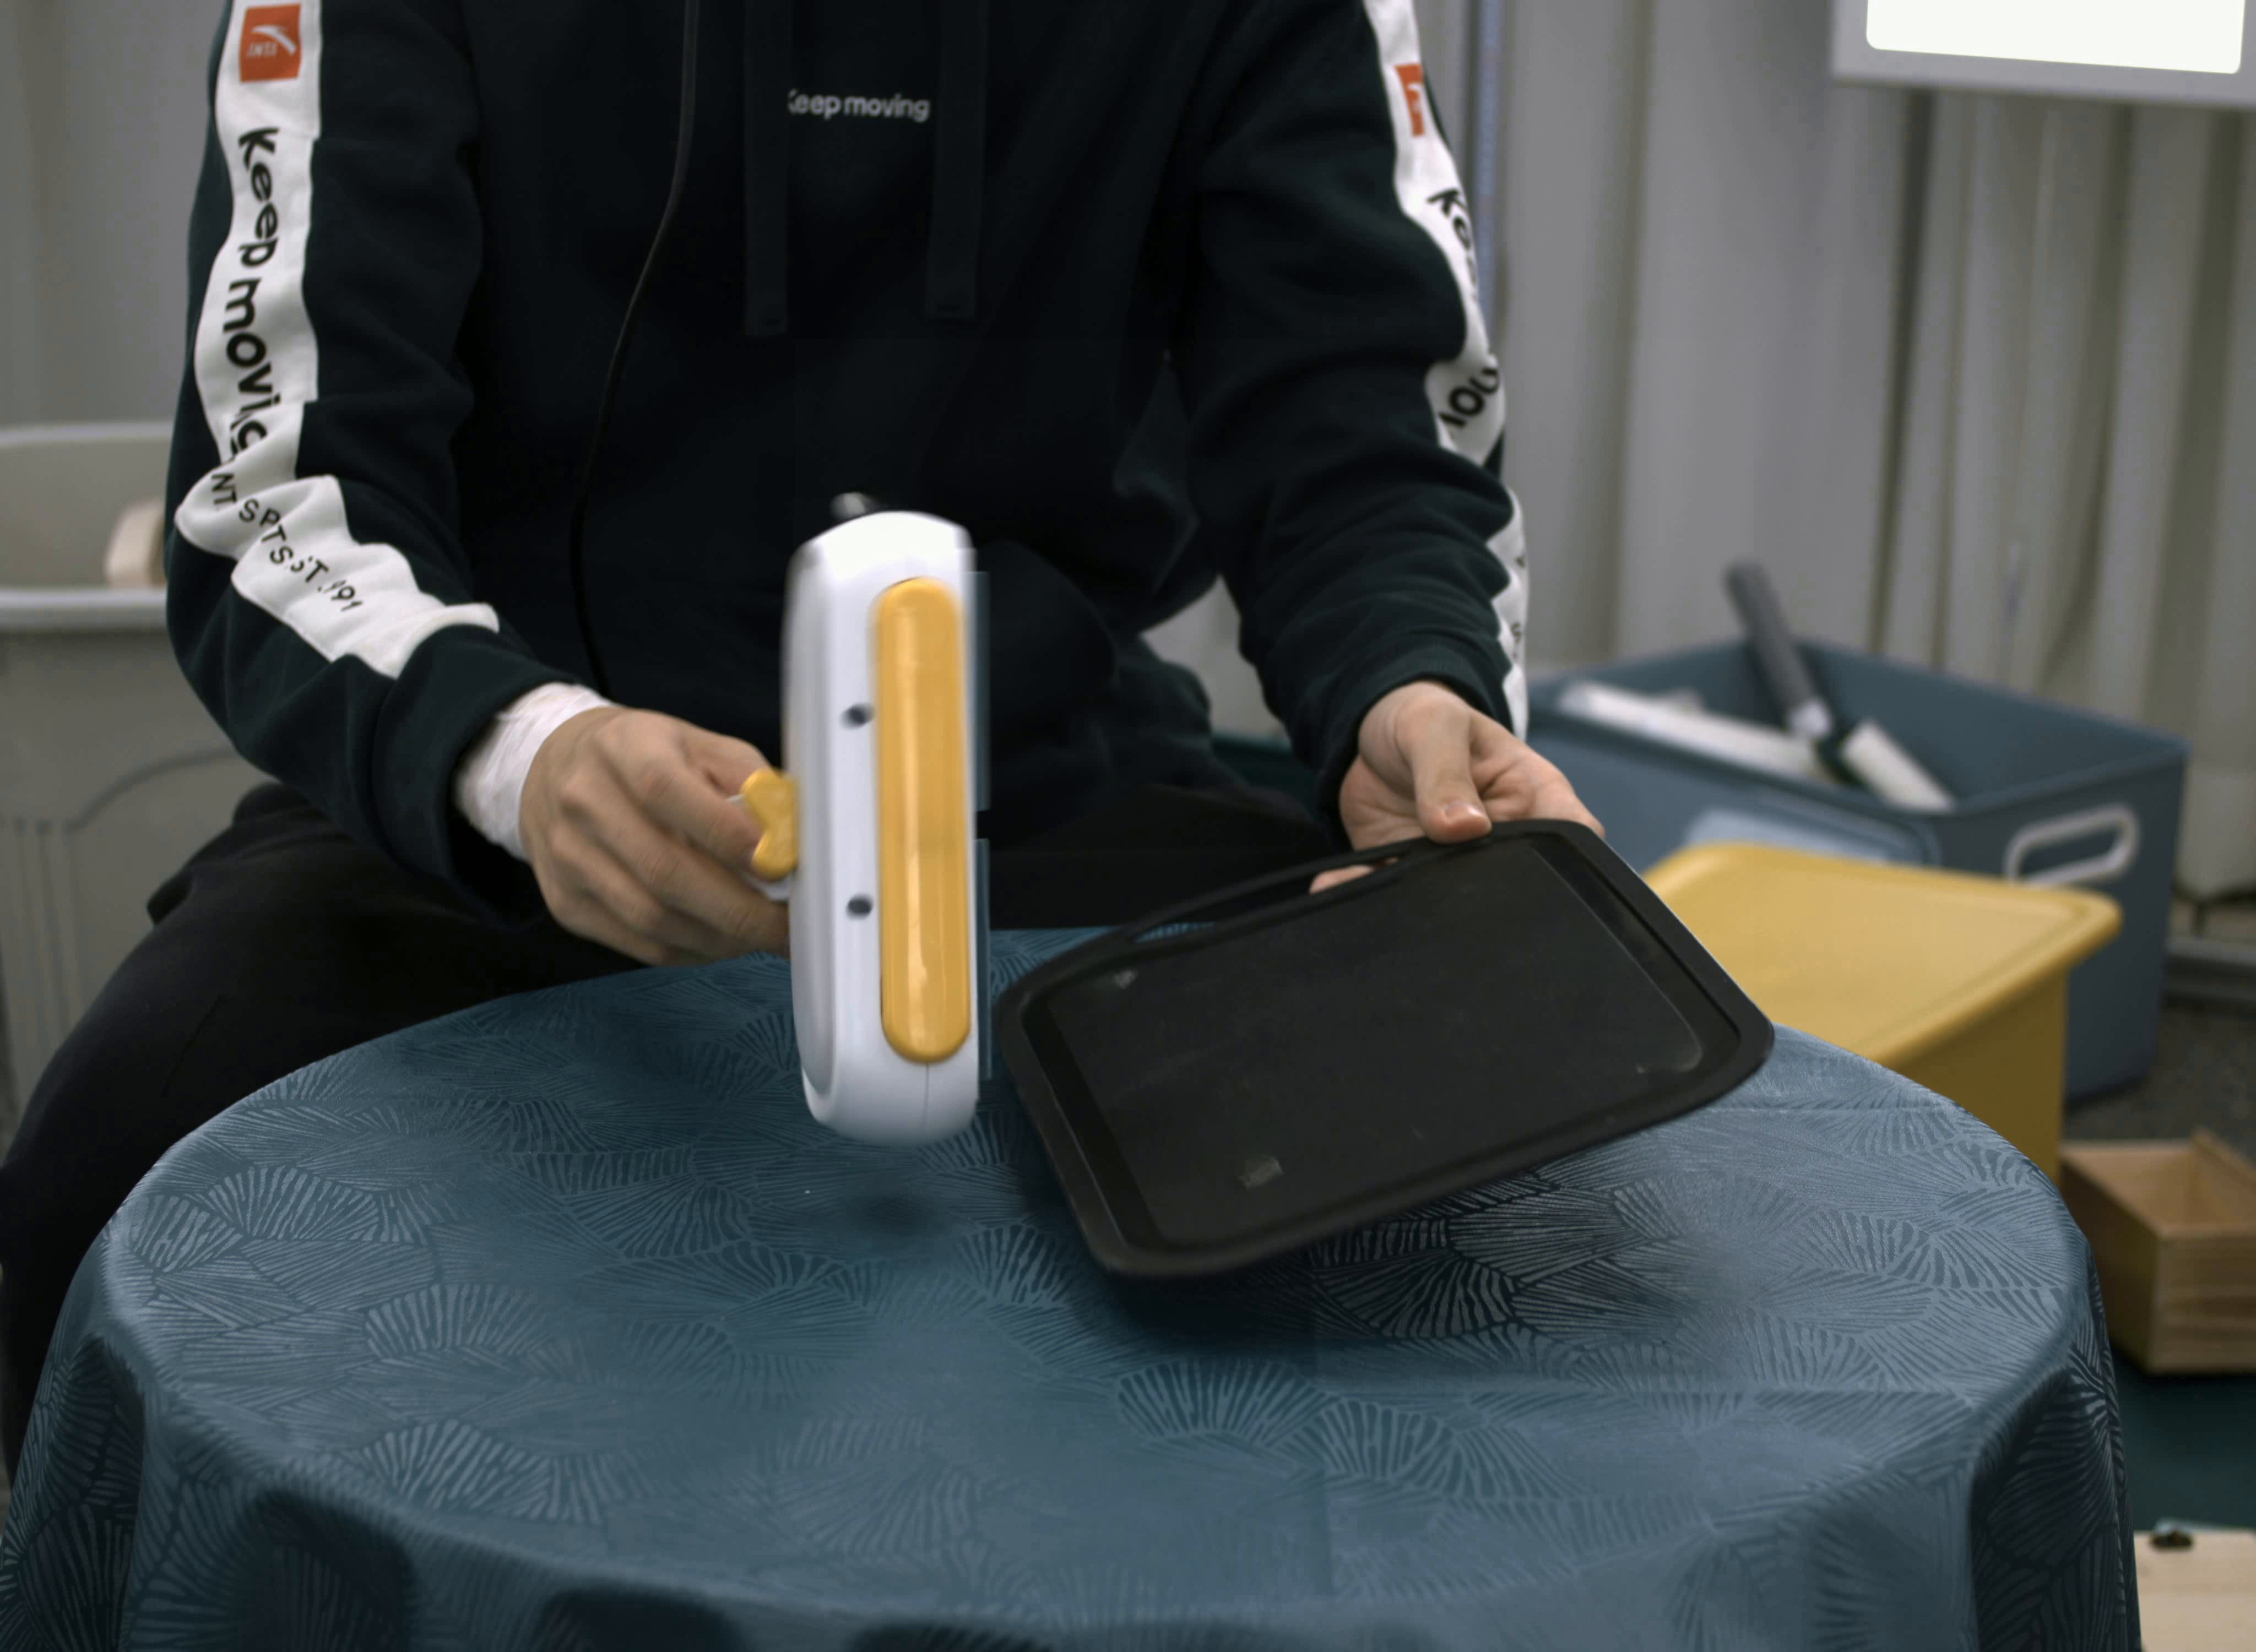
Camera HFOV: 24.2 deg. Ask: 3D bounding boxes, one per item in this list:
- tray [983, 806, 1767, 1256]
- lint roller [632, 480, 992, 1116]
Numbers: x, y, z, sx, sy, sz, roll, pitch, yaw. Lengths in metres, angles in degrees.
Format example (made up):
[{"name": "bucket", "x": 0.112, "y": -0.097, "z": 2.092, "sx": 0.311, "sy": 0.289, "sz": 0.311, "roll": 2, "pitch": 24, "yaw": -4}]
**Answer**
[{"name": "tray", "x": 0.066, "y": 0.055, "z": 1.633, "sx": 0.211, "sy": 0.010, "sz": 0.323, "roll": -18, "pitch": 17, "yaw": -4}, {"name": "lint roller", "x": -0.100, "y": 0.002, "z": 1.643, "sx": 0.074, "sy": 0.193, "sz": 0.191, "roll": -1, "pitch": -9, "yaw": -24}]
